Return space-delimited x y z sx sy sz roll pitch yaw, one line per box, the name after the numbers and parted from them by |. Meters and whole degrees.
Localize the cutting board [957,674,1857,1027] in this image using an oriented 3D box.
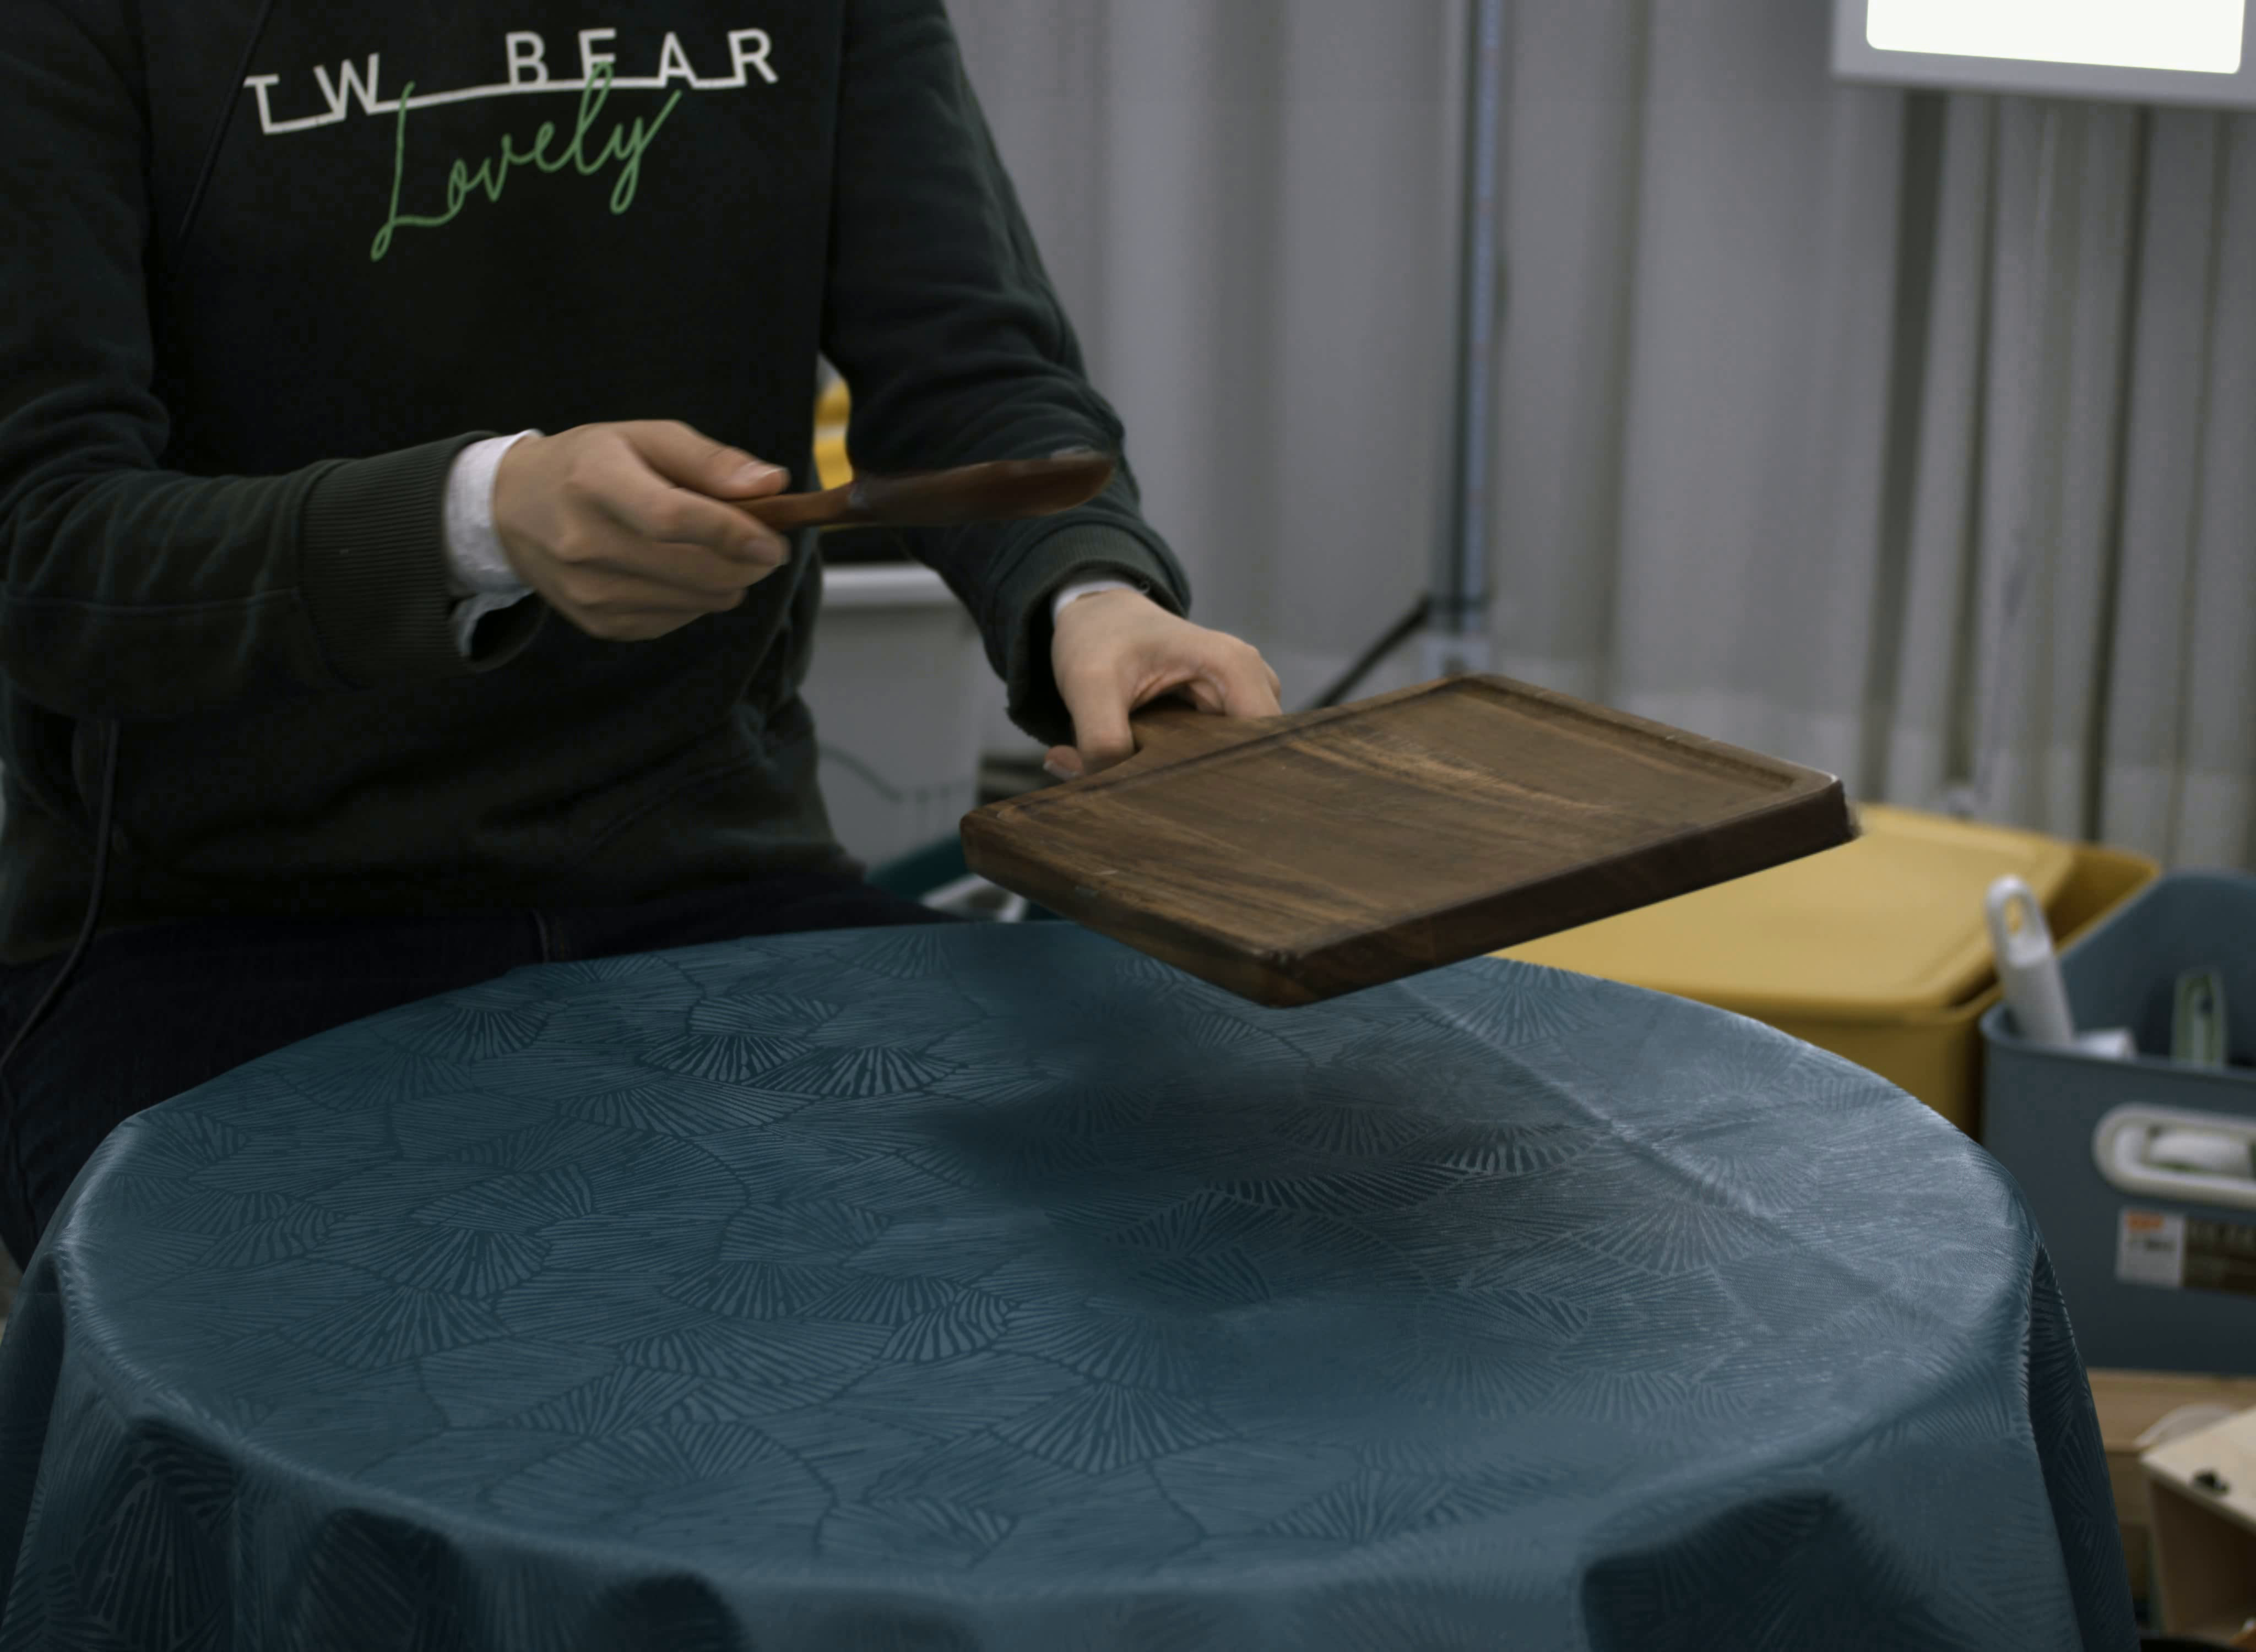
0.061 -0.005 1.676 0.201 0.023 0.348 -17 16 -20 | cutting board

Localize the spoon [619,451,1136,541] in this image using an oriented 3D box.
-0.085 -0.103 1.657 0.213 0.017 0.076 -2 7 43 | spoon
